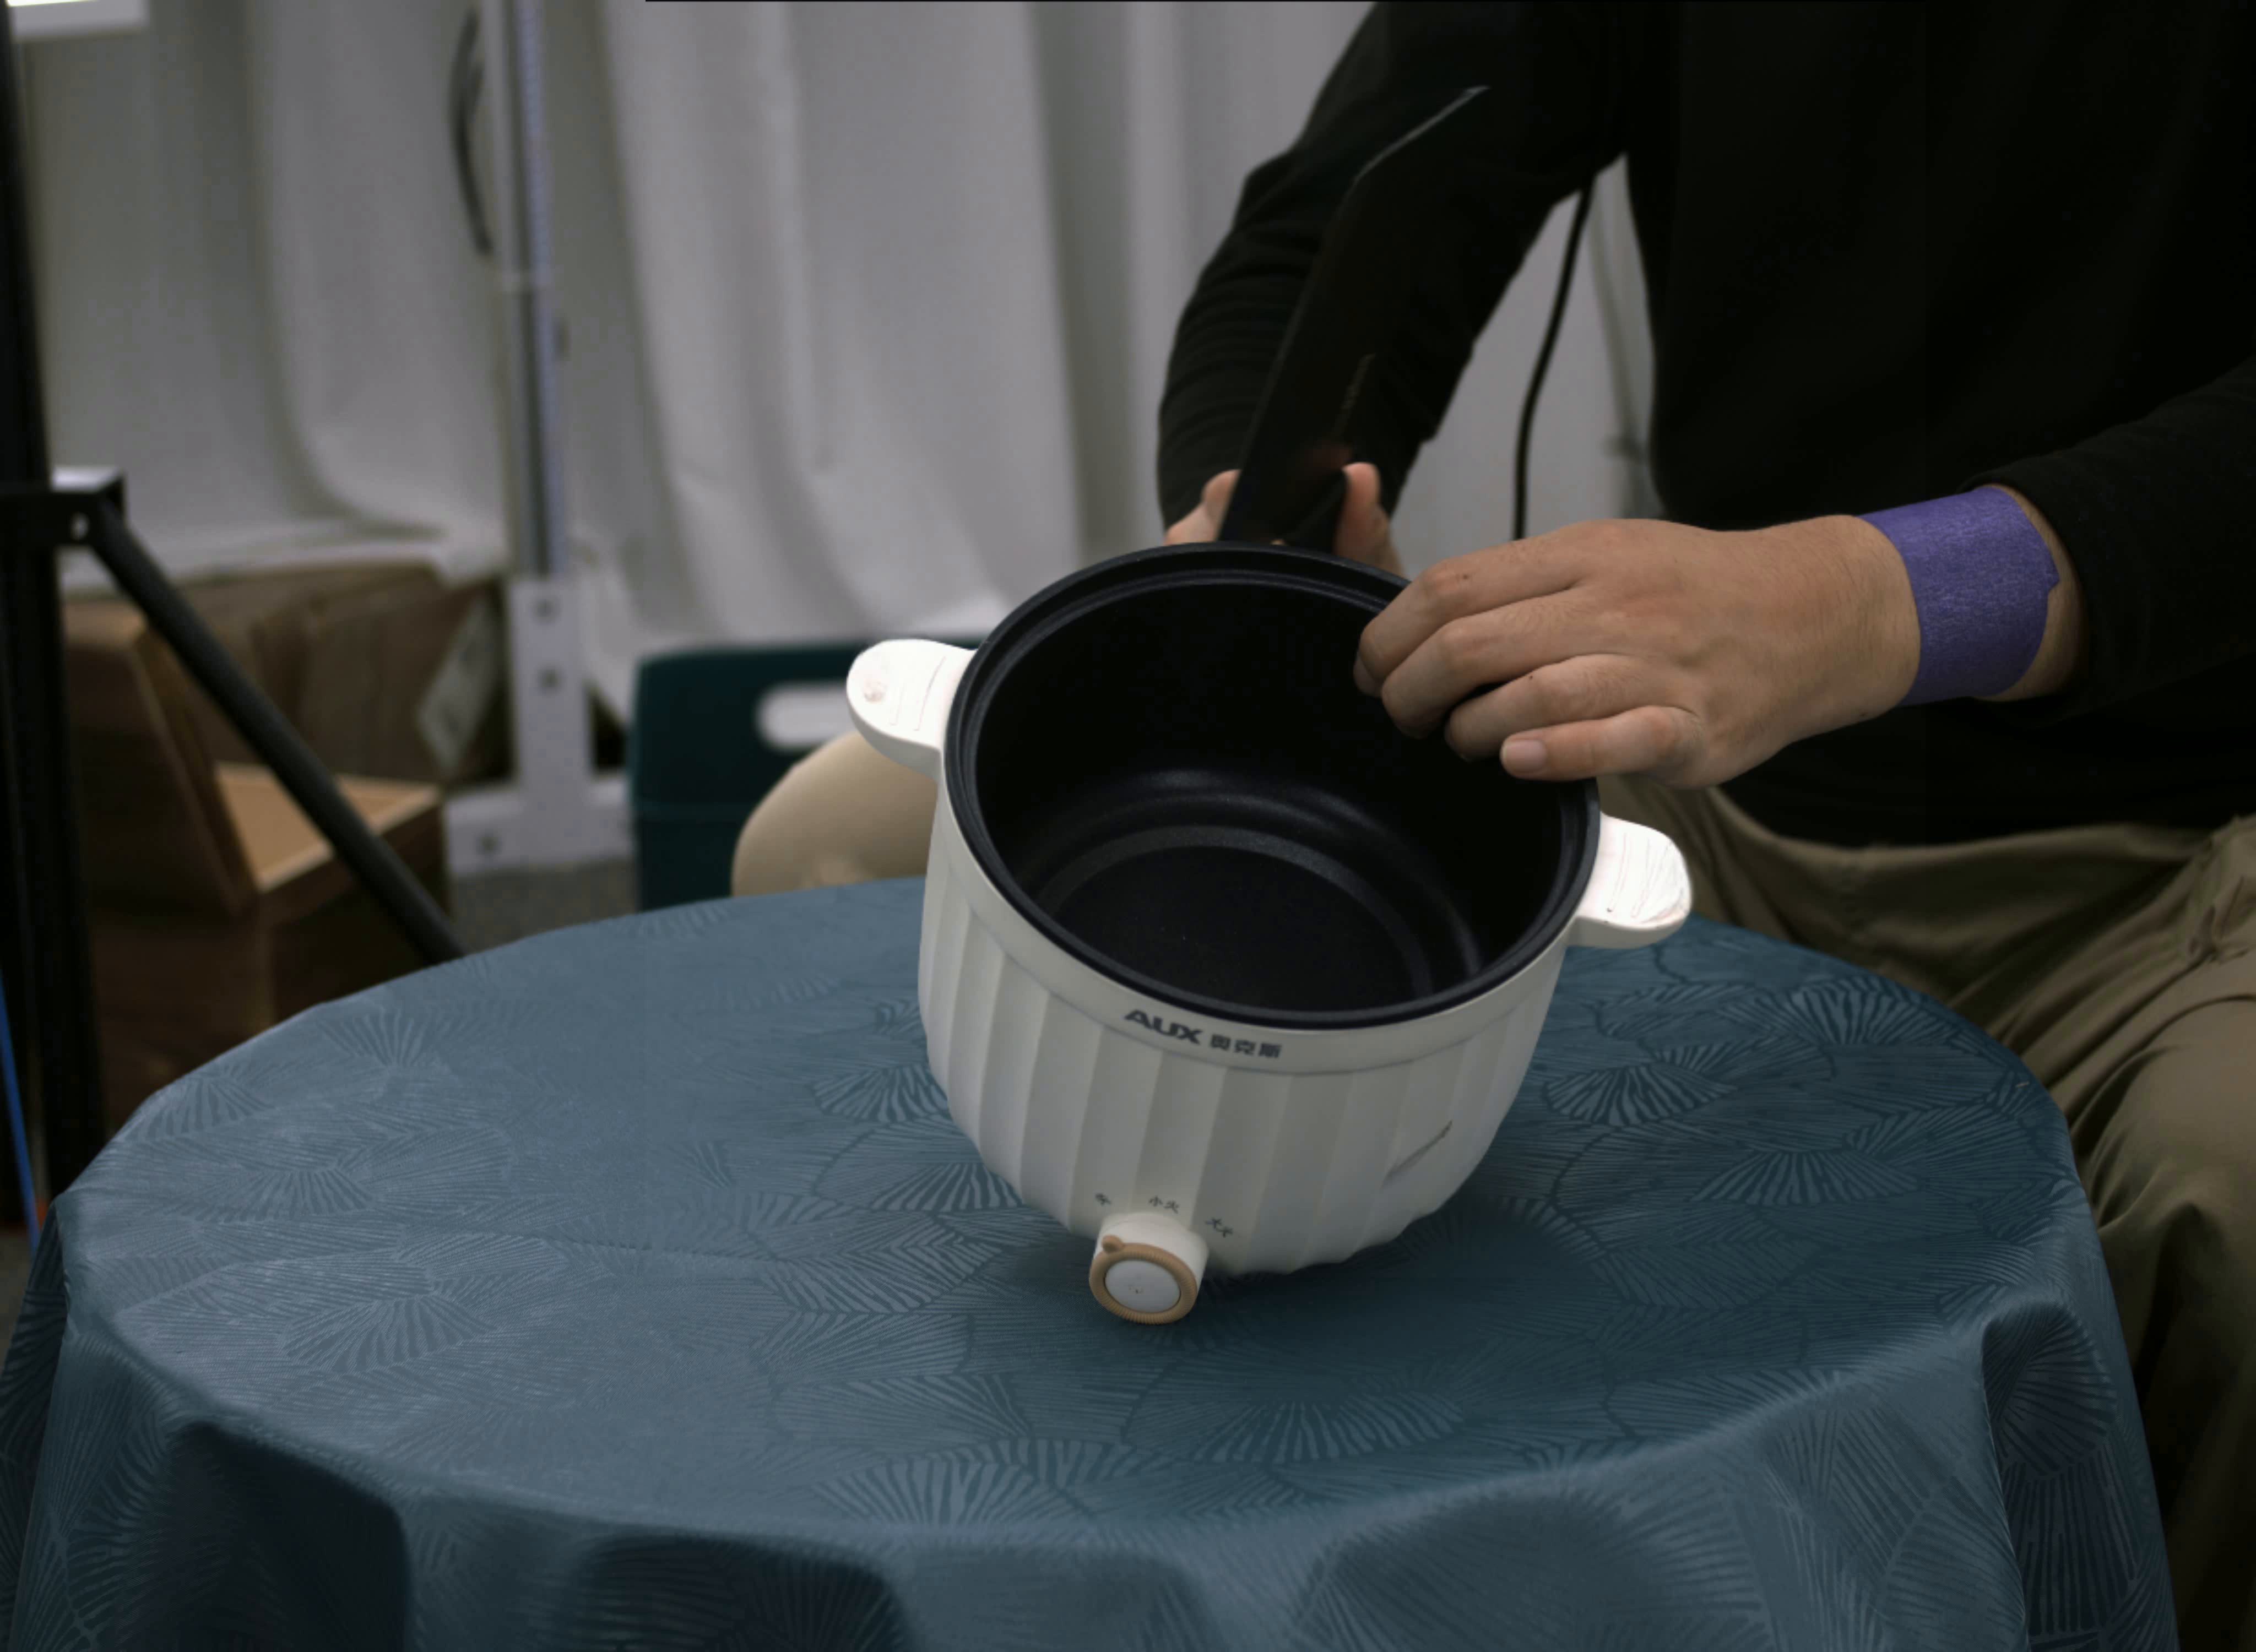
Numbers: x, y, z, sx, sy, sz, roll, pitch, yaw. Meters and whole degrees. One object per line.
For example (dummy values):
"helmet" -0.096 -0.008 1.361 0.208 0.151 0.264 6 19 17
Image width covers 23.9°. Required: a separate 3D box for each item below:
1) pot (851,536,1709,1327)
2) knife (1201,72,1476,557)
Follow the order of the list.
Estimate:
"pot" 0.032 0.034 1.480 0.240 0.142 0.191 14 43 5
"knife" 0.049 -0.106 1.578 0.021 0.302 0.080 42 59 18
